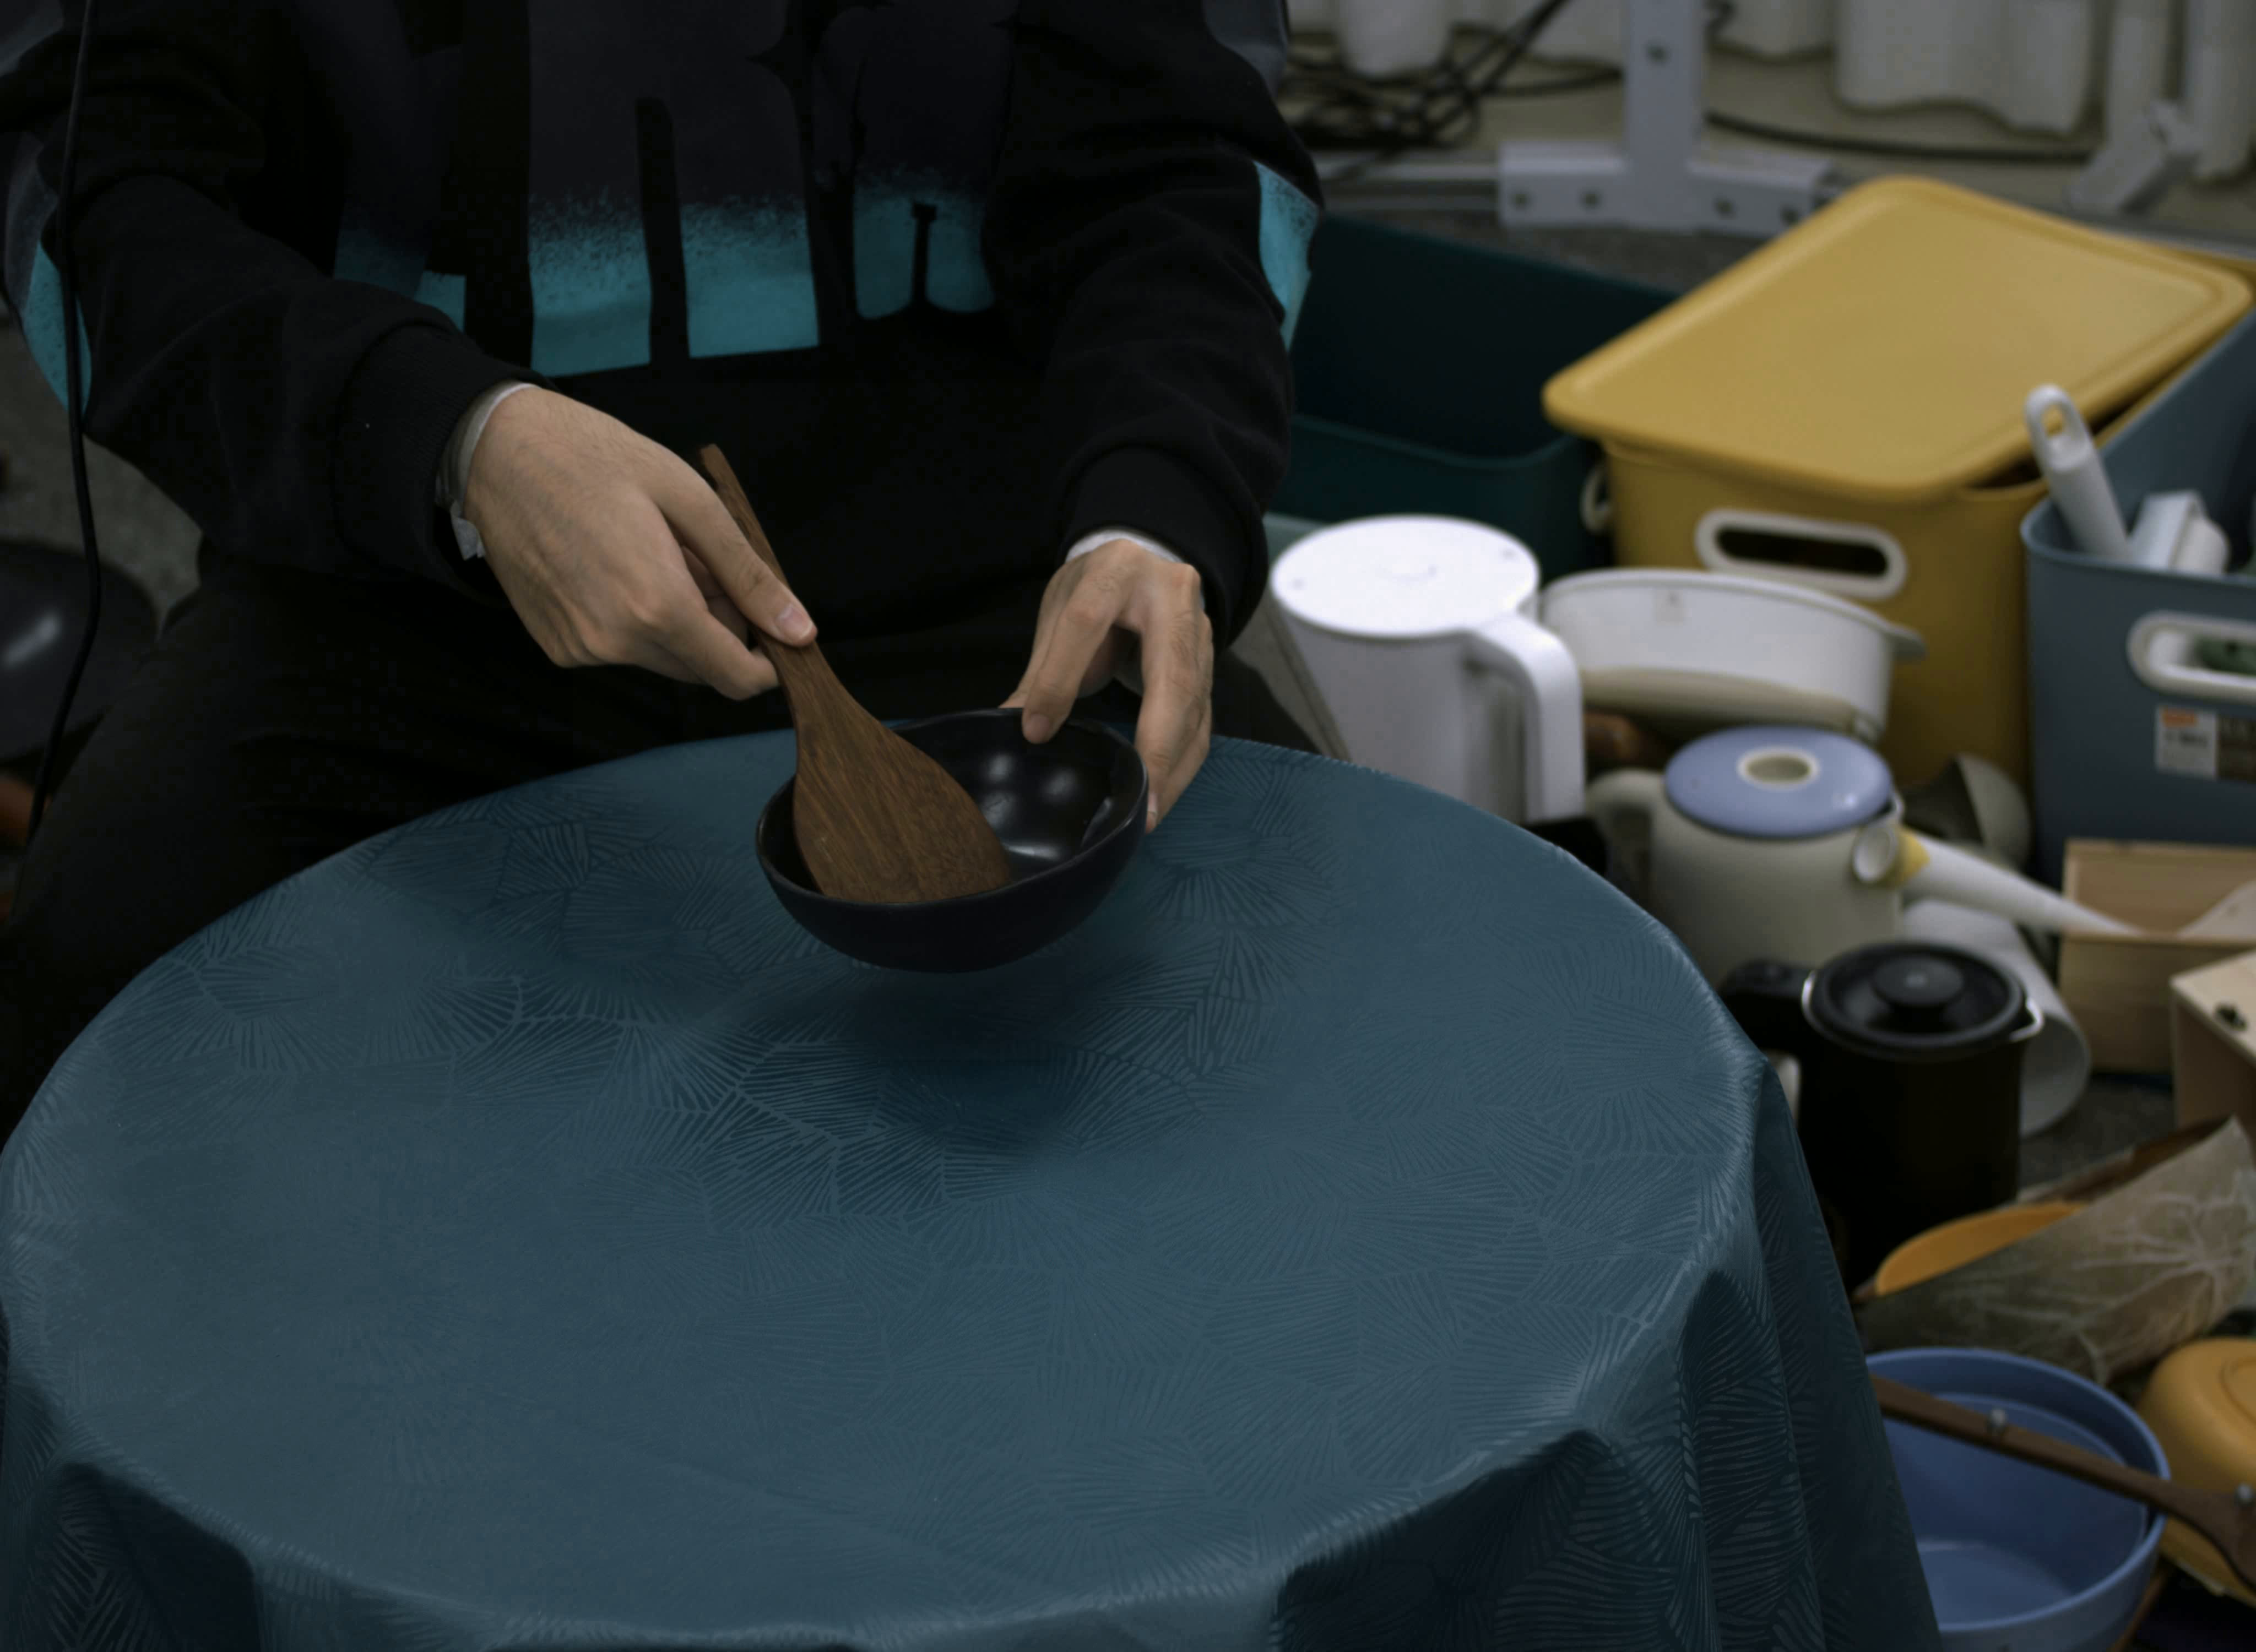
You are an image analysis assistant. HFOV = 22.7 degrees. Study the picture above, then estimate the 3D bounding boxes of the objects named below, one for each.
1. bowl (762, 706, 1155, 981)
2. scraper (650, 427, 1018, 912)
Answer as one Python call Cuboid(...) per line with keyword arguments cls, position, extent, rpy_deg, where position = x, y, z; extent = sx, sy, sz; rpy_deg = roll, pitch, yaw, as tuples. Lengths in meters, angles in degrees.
Cuboid(cls="bowl", position=(-0.054, 0.014, 1.945), extent=(0.139, 0.049, 0.142), rpy_deg=(-10, 28, 6))
Cuboid(cls="scraper", position=(-0.114, -0.053, 1.989), extent=(0.076, 0.010, 0.213), rpy_deg=(-17, 67, -31))
